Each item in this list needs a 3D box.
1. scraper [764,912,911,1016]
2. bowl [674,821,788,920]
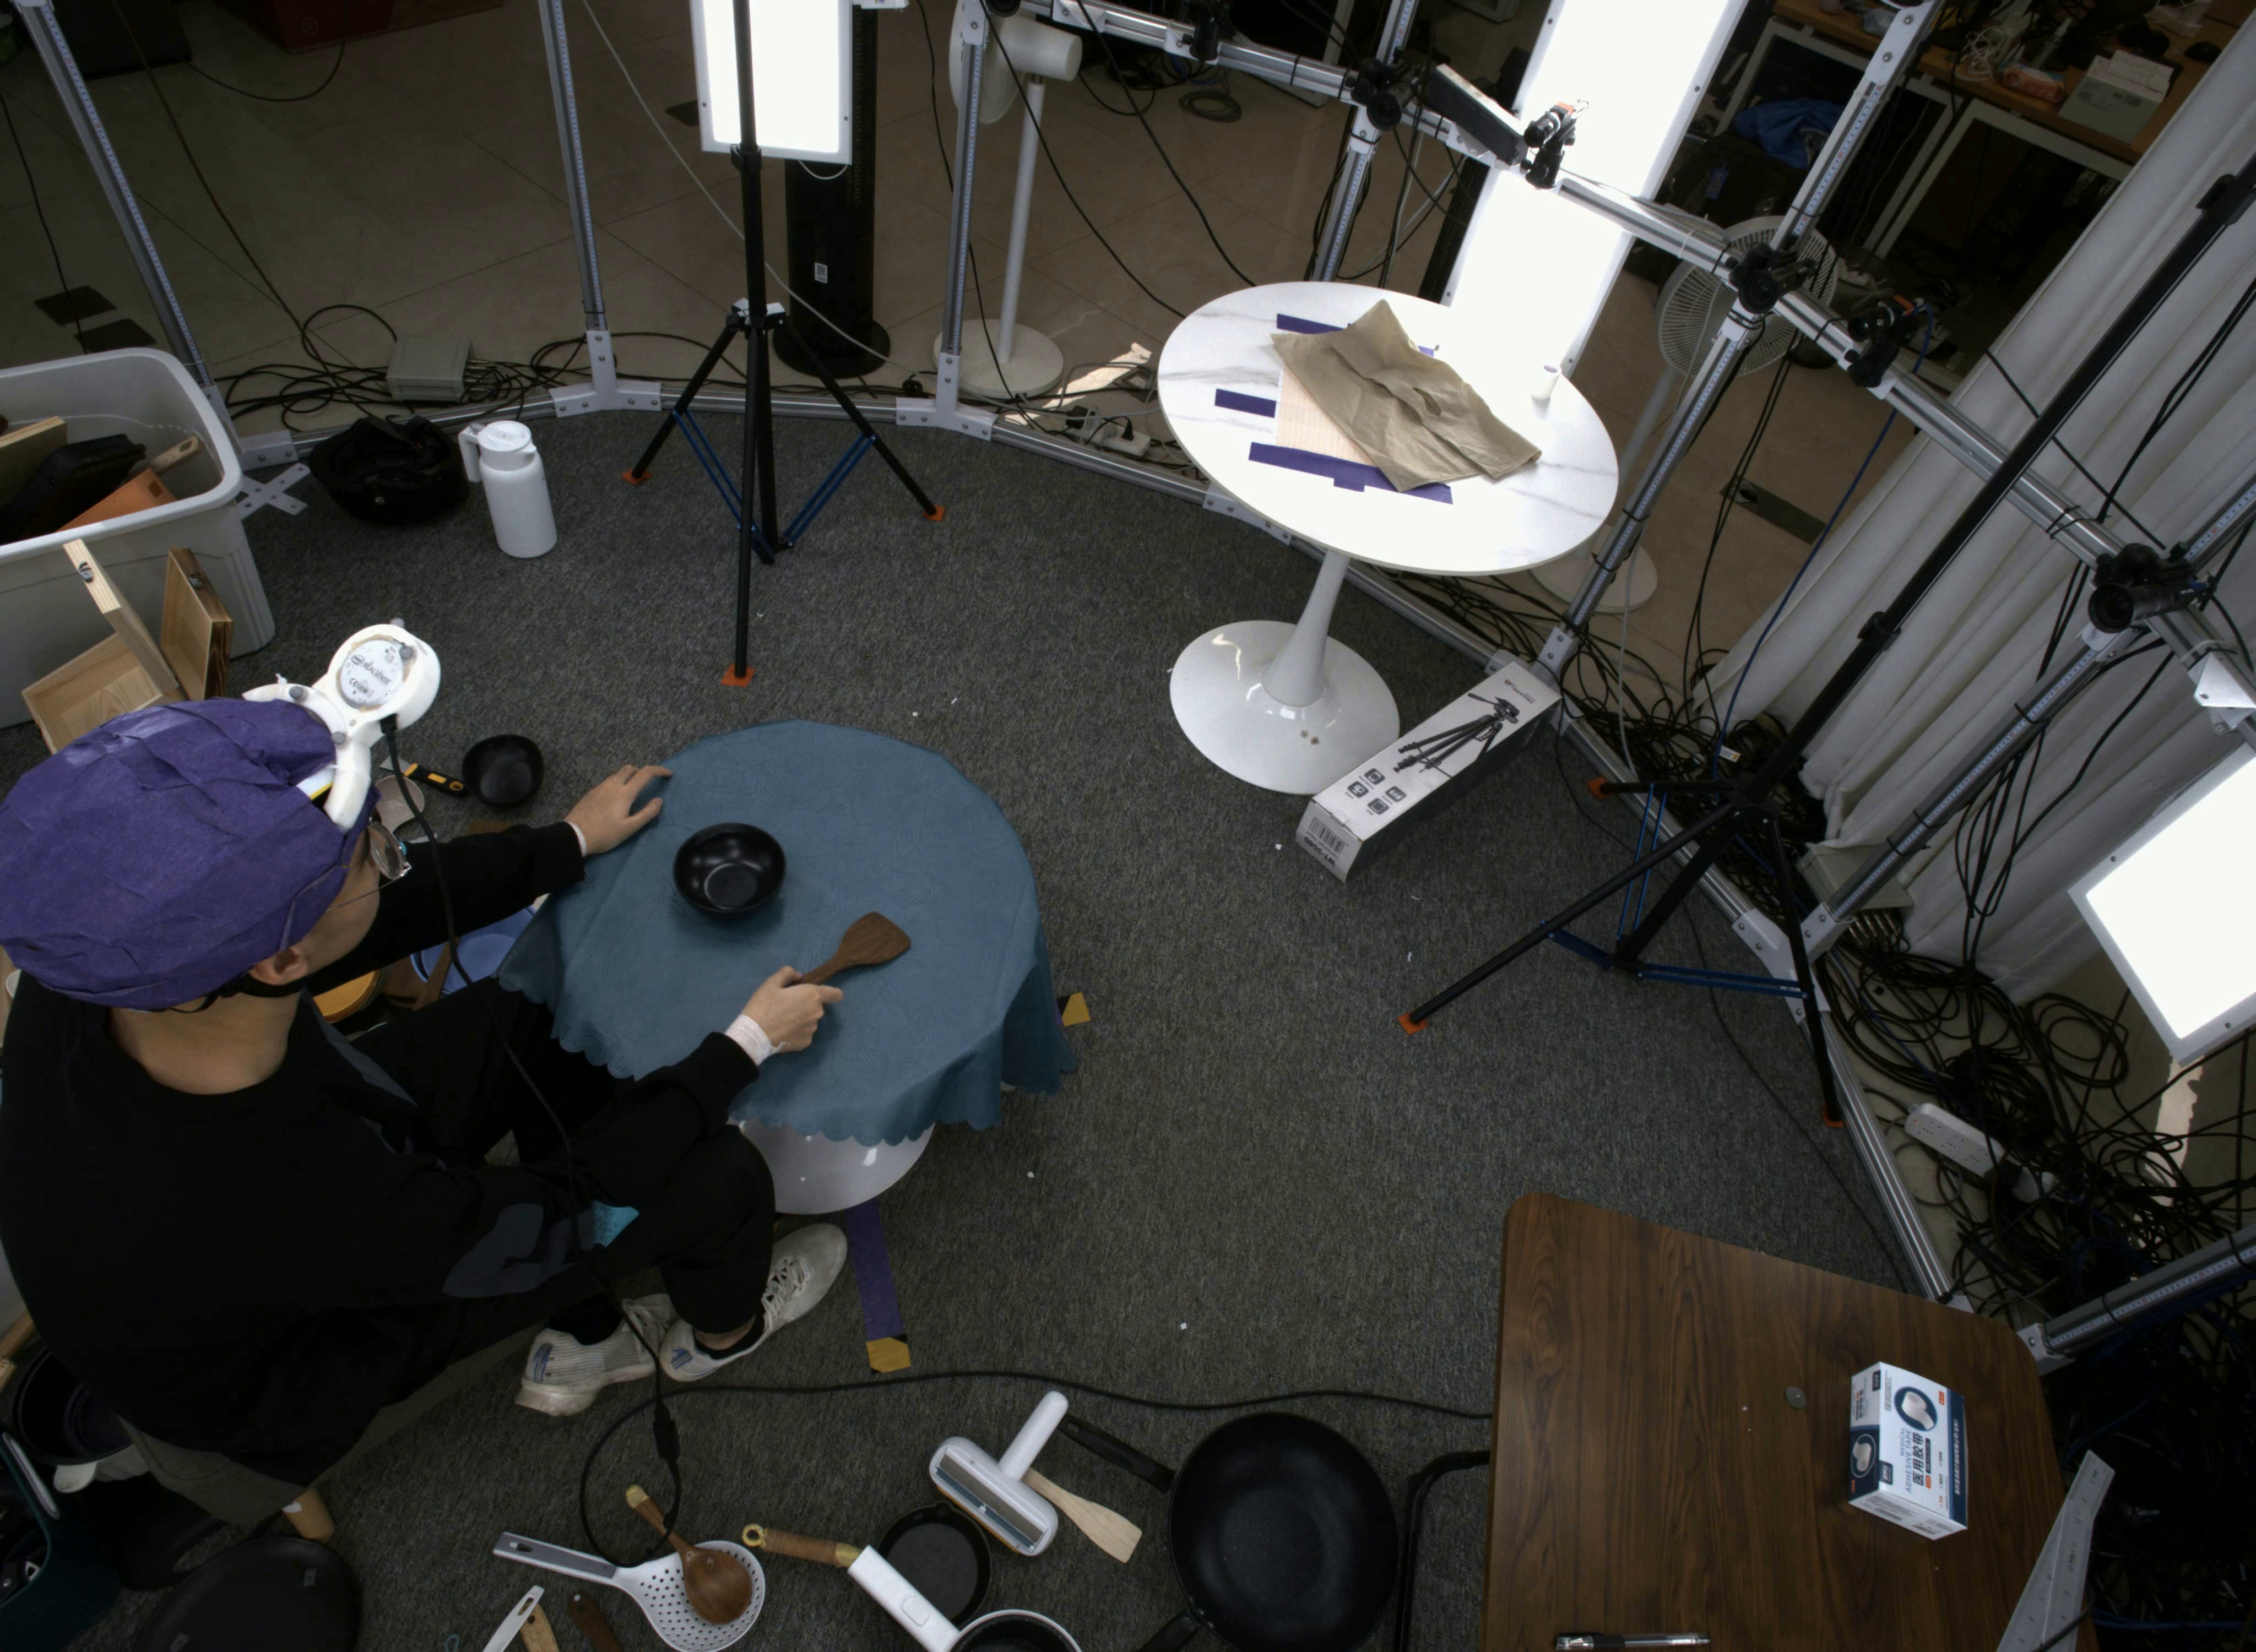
[{"bbox_3d":[-0.360,0.171,1.592,0.074,0.011,0.212,37,42,16],"label":"scraper"},{"bbox_3d":[-0.500,0.063,1.631,0.140,0.050,0.137,9,54,-10],"label":"bowl"}]
